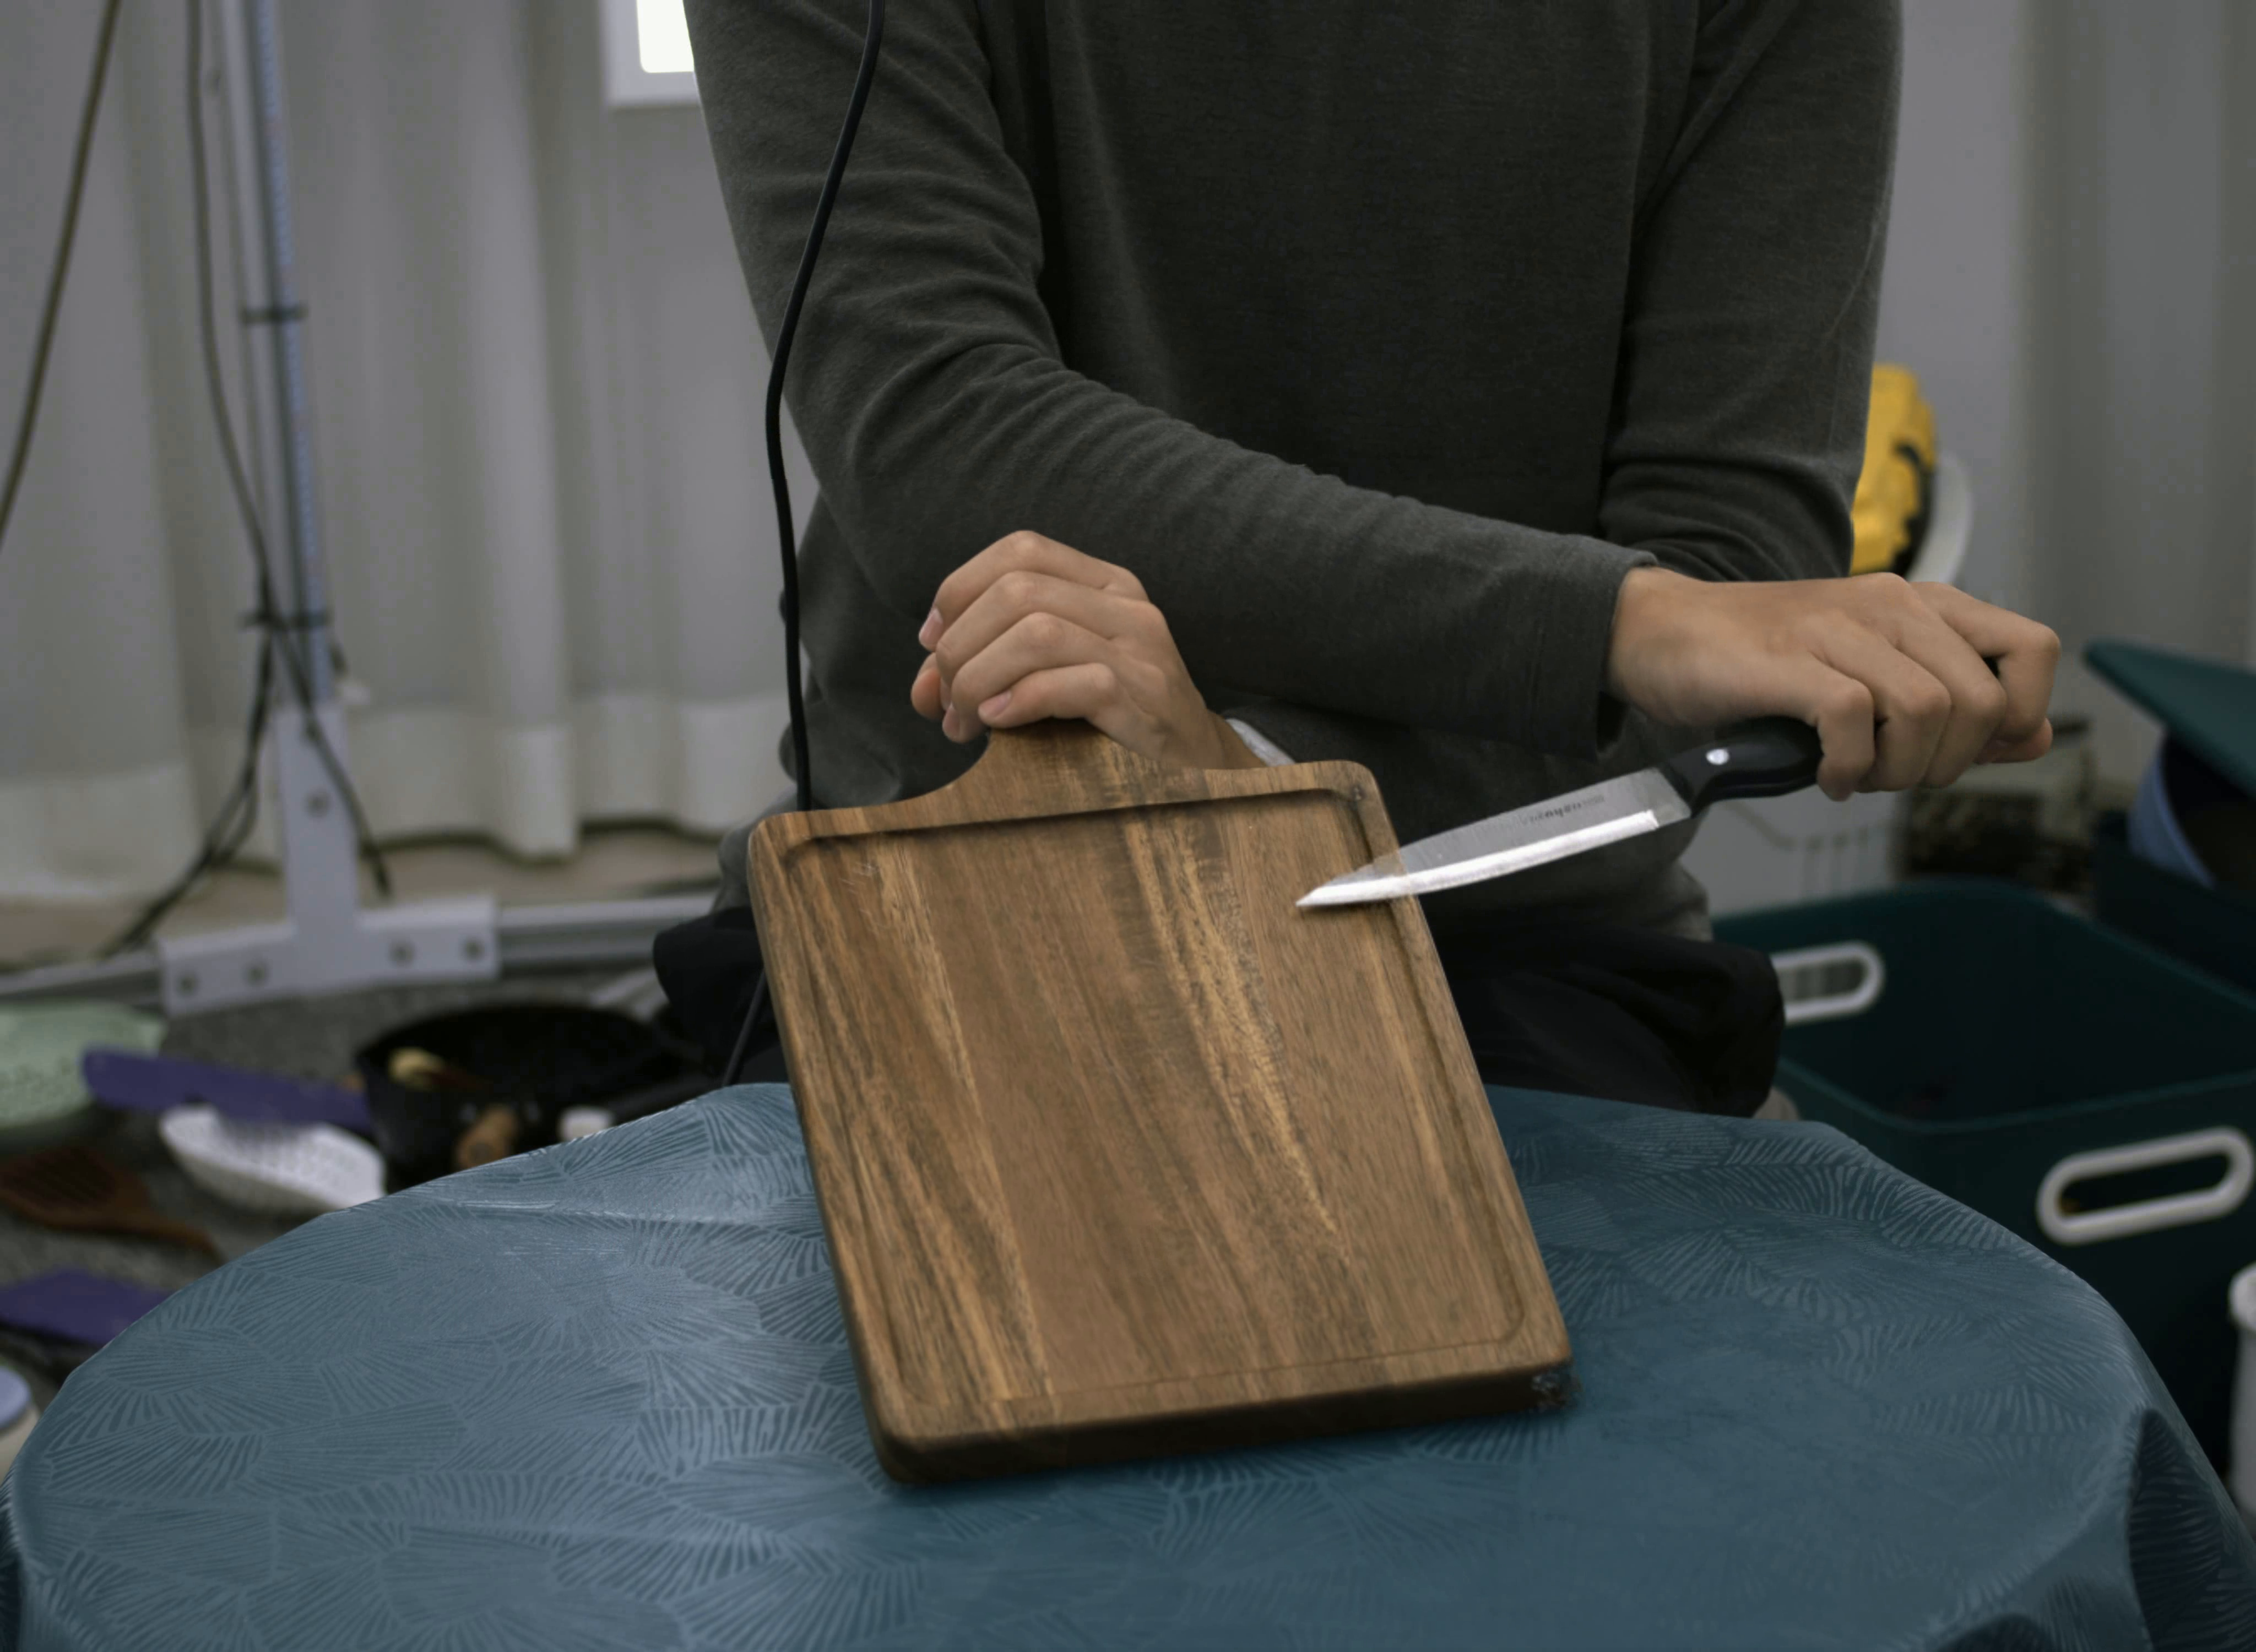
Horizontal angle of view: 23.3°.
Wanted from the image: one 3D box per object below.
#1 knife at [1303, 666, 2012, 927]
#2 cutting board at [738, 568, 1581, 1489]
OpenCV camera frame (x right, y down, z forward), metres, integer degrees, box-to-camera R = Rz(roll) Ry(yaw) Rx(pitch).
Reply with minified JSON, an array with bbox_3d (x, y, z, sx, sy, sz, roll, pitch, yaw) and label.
[{"bbox_3d":[0.160,-0.008,1.661,0.237,0.016,0.025,-18,46,-15],"label":"knife"},{"bbox_3d":[-0.006,0.045,1.618,0.200,0.023,0.358,-6,44,-11],"label":"cutting board"}]
